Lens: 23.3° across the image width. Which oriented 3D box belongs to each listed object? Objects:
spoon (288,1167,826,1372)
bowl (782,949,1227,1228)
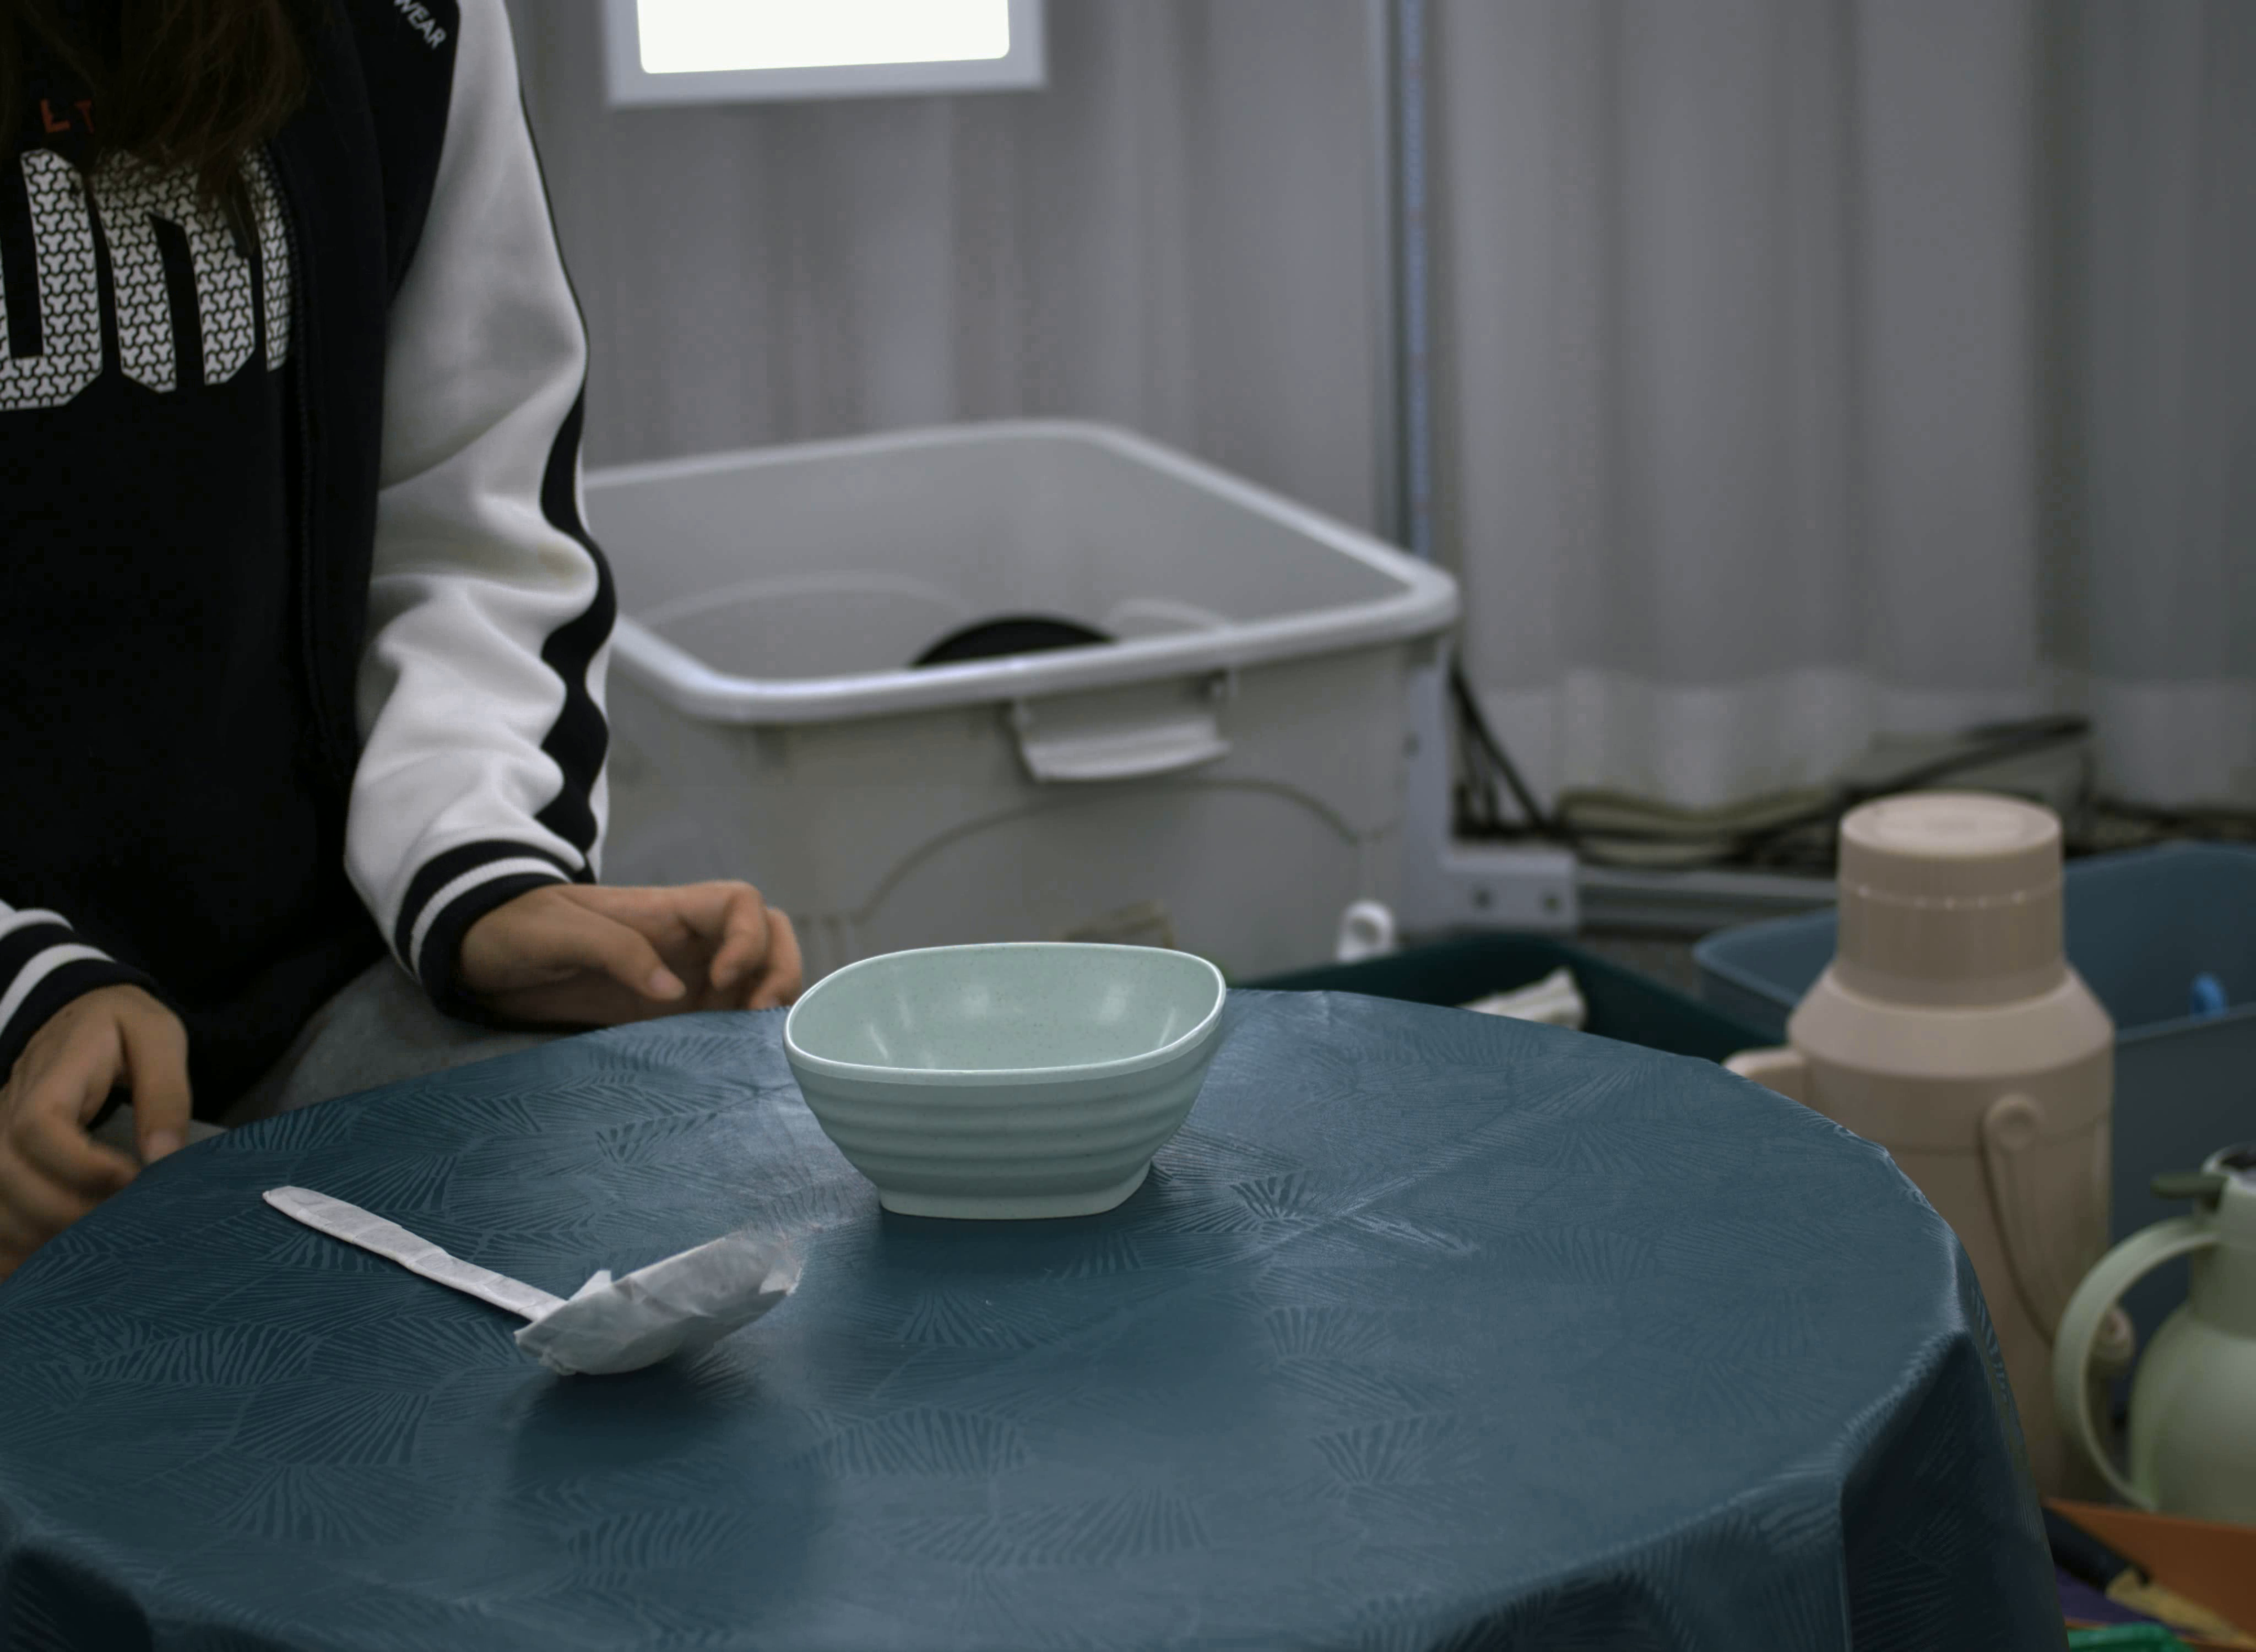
[{"bbox_3d":[-0.184,0.113,1.644,0.100,0.059,0.279,-7,15,-33],"label":"spoon"},{"bbox_3d":[-0.037,0.086,1.727,0.151,0.058,0.152,-2,15,0],"label":"bowl"}]
